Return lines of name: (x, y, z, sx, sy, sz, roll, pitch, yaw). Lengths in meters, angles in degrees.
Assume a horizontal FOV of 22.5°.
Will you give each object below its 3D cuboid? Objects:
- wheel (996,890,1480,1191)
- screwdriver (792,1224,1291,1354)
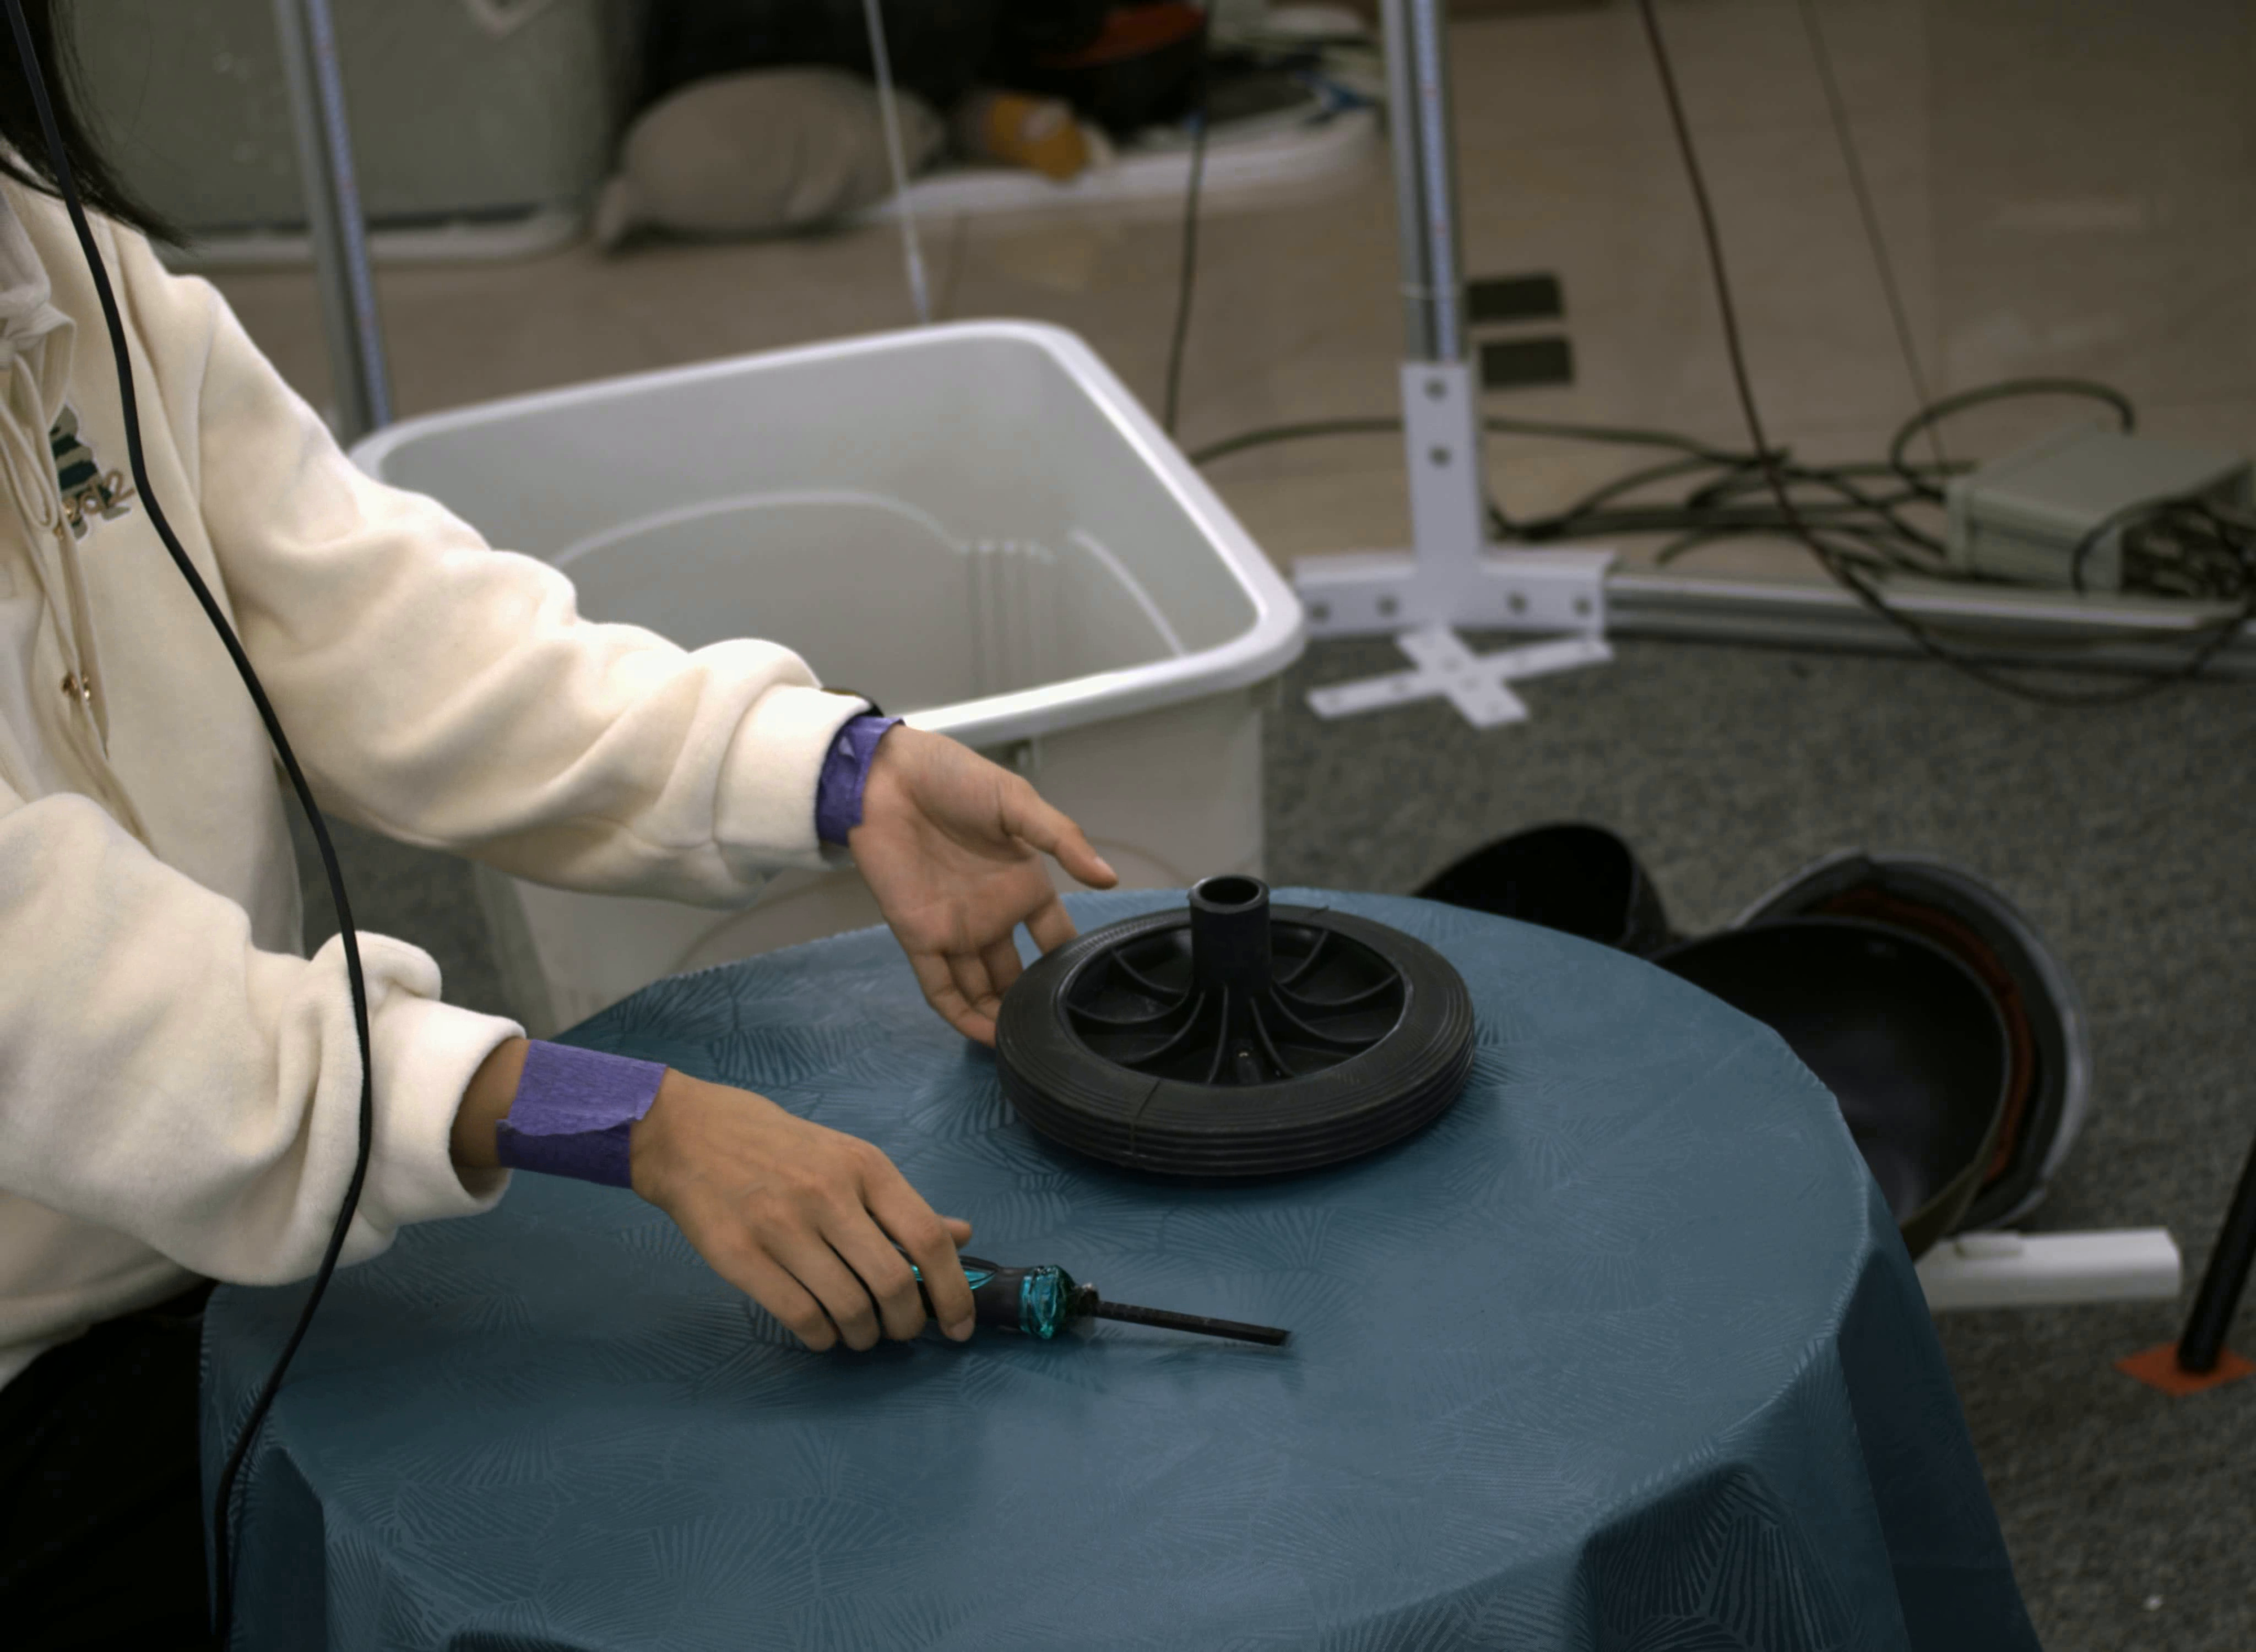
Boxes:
wheel: (0.042, 0.067, 2.201, 0.186, 0.080, 0.187, -17, 32, -24)
screwdriver: (-0.031, 0.173, 2.055, 0.189, 0.034, 0.033, 9, 29, 17)
